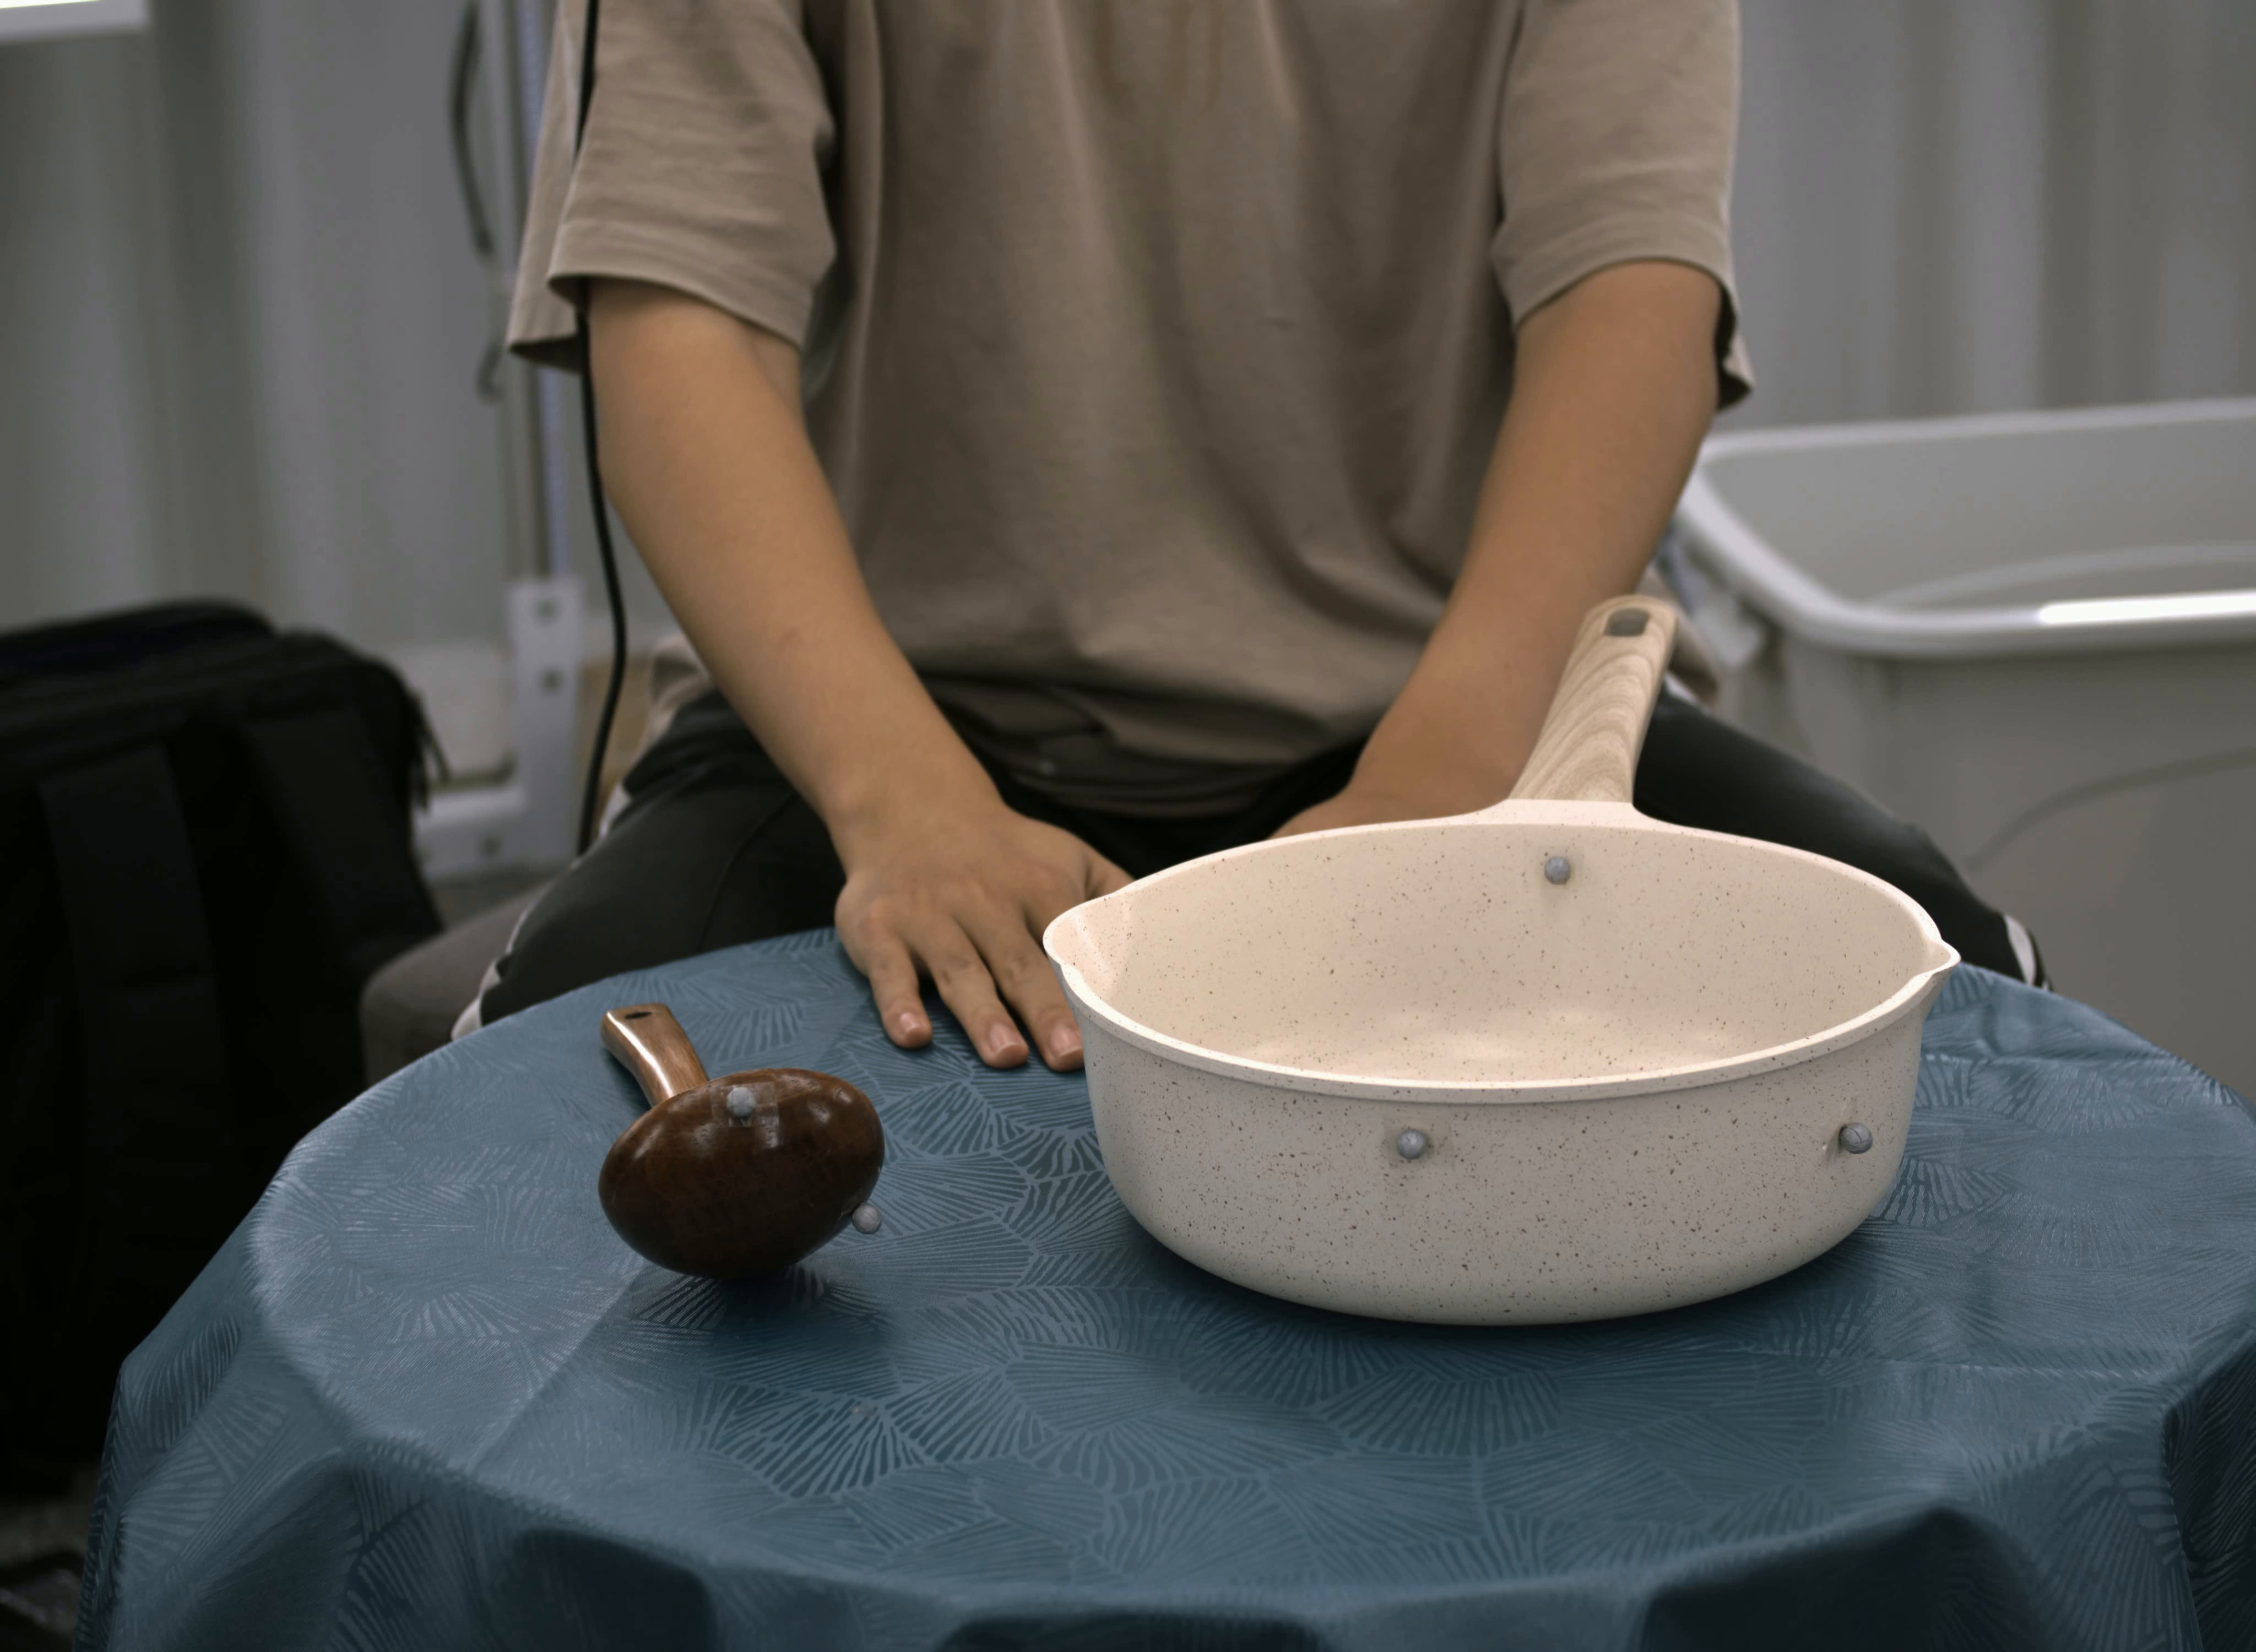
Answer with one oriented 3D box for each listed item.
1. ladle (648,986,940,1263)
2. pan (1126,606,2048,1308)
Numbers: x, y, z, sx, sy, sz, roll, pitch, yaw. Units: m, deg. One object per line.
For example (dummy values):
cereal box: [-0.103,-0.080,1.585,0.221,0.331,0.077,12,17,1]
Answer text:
ladle: [-0.112,0.064,1.571,0.081,0.076,0.277,-6,17,-9]
pan: [0.149,0.035,1.598,0.265,0.102,0.432,0,16,13]
